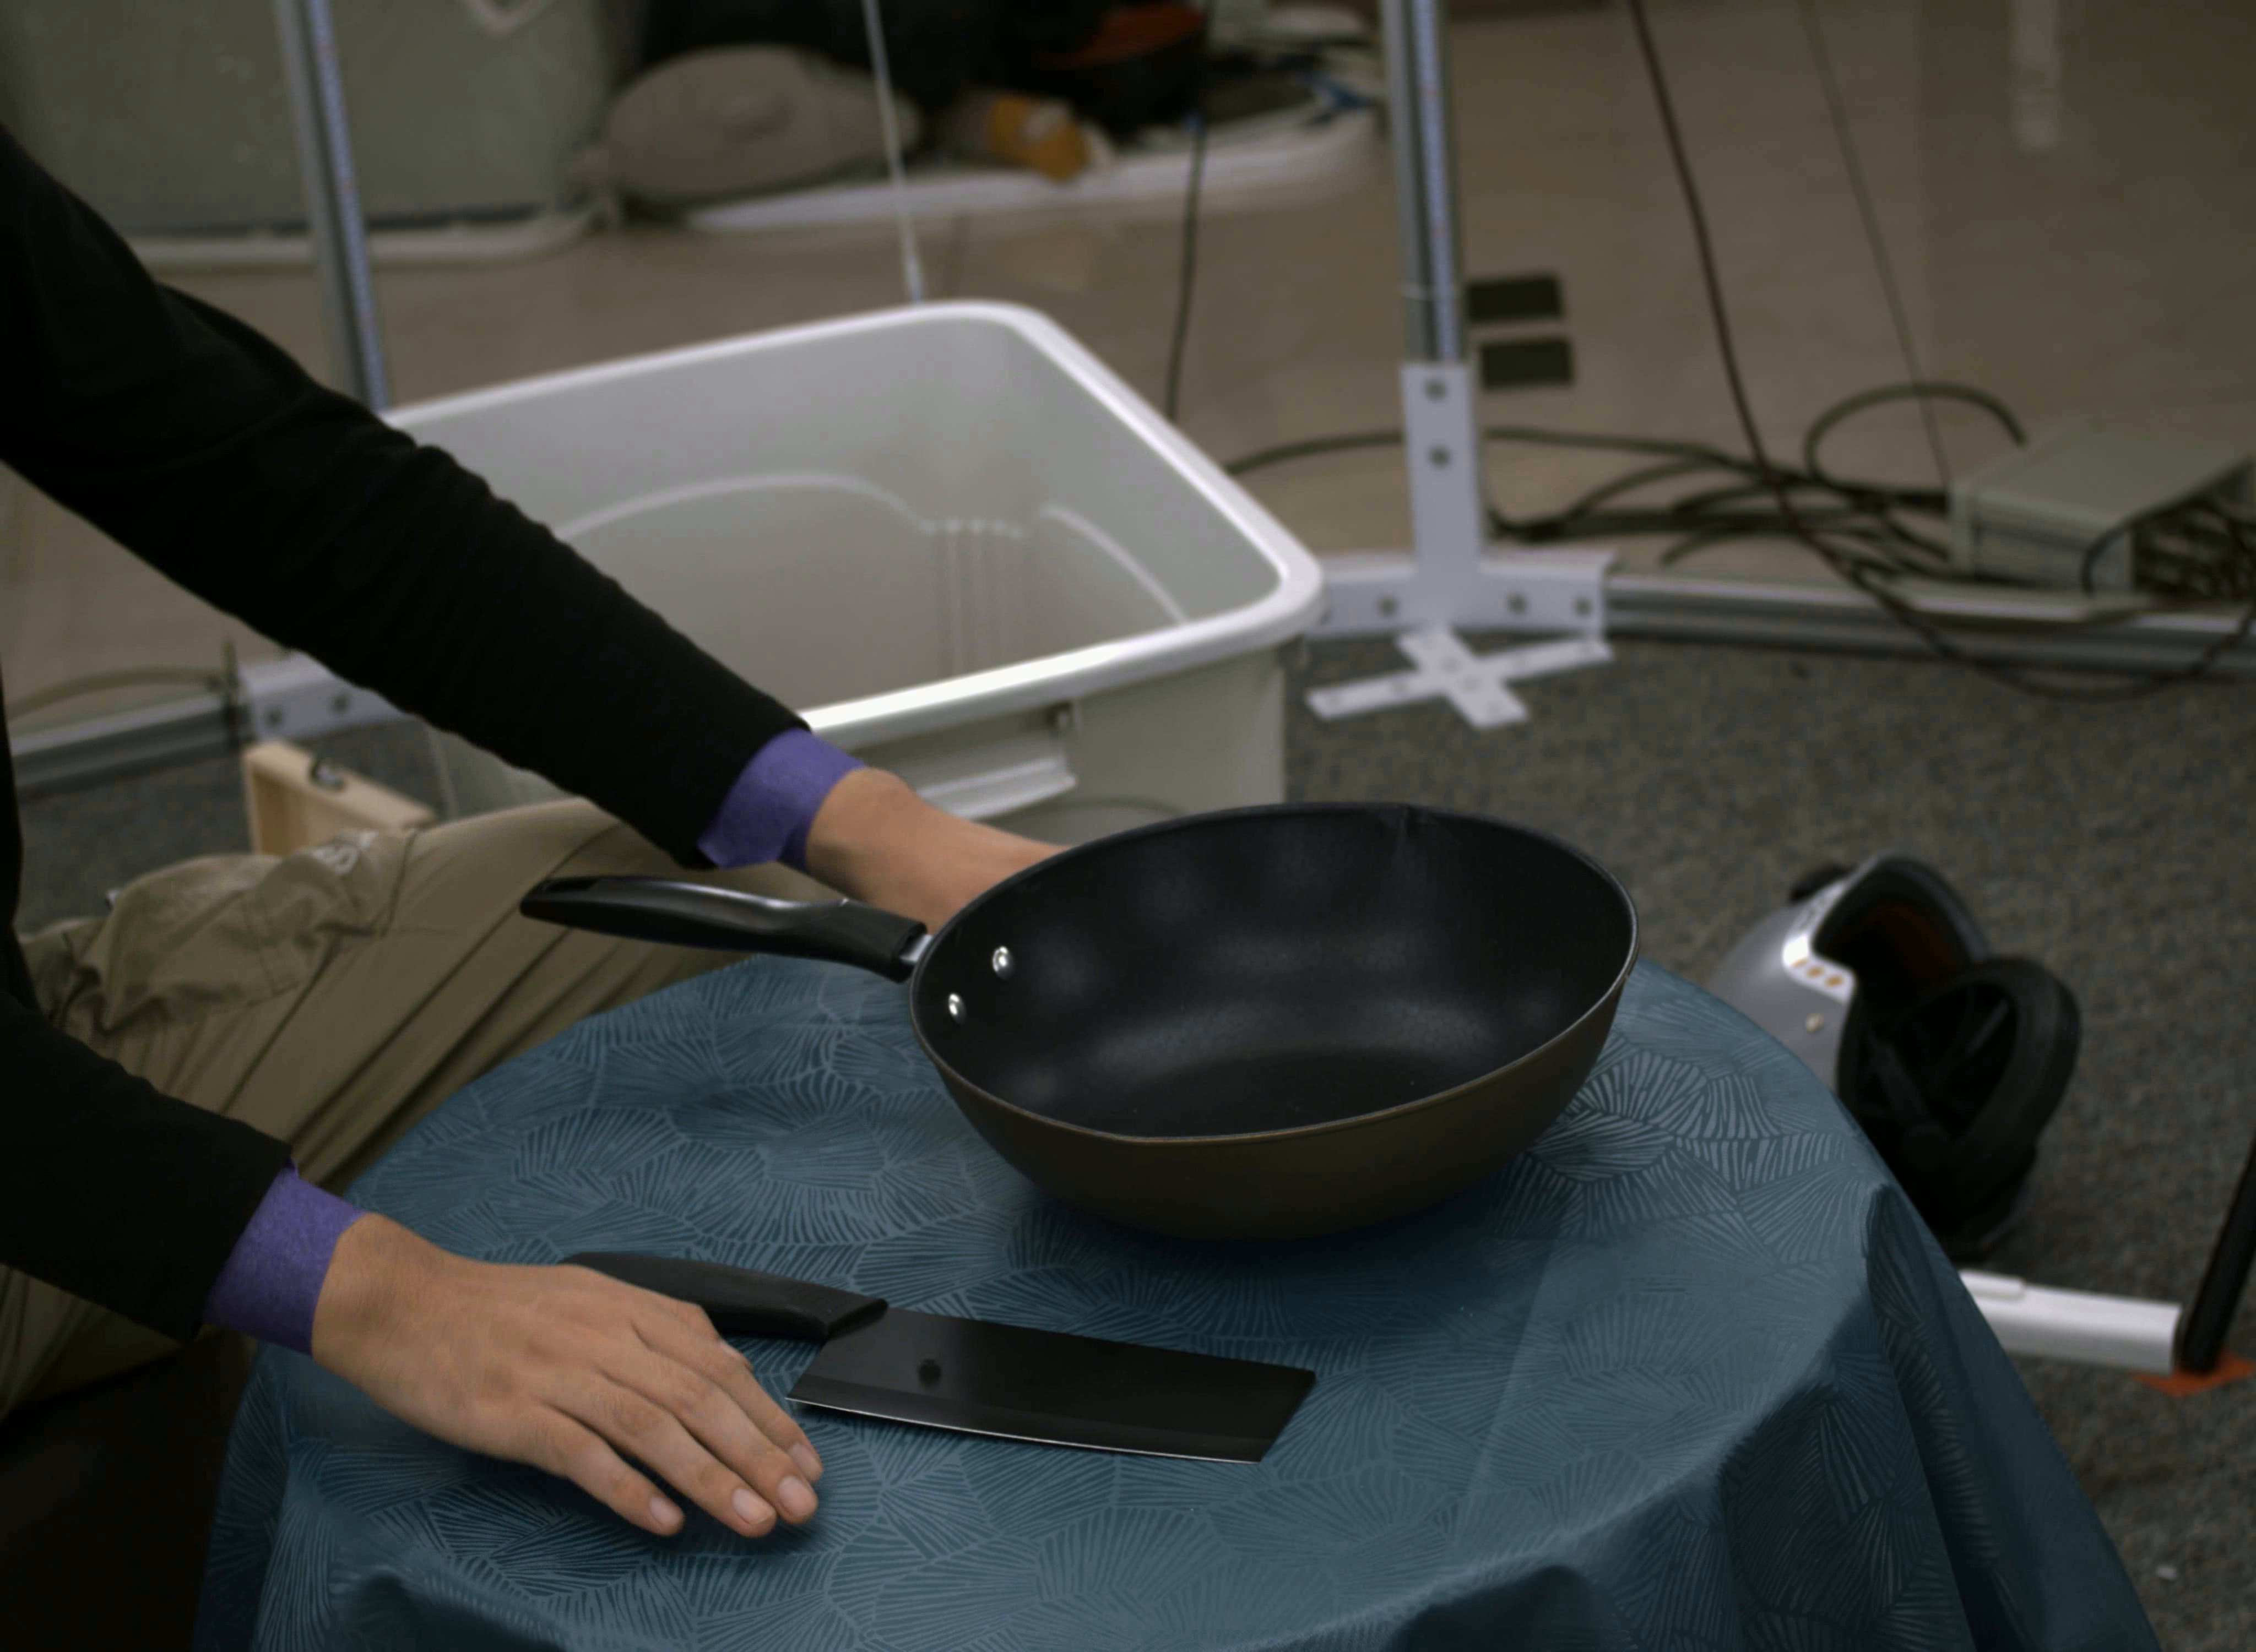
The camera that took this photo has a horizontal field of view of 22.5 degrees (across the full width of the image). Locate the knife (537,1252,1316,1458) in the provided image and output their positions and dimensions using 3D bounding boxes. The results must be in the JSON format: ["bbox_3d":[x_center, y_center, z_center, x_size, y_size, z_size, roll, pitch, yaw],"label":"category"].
[{"bbox_3d":[-0.079,0.190,2.044,0.301,0.021,0.080,9,30,26],"label":"knife"}]

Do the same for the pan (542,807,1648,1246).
[{"bbox_3d":[-0.022,0.078,2.189,0.462,0.088,0.284,5,27,25],"label":"pan"}]
